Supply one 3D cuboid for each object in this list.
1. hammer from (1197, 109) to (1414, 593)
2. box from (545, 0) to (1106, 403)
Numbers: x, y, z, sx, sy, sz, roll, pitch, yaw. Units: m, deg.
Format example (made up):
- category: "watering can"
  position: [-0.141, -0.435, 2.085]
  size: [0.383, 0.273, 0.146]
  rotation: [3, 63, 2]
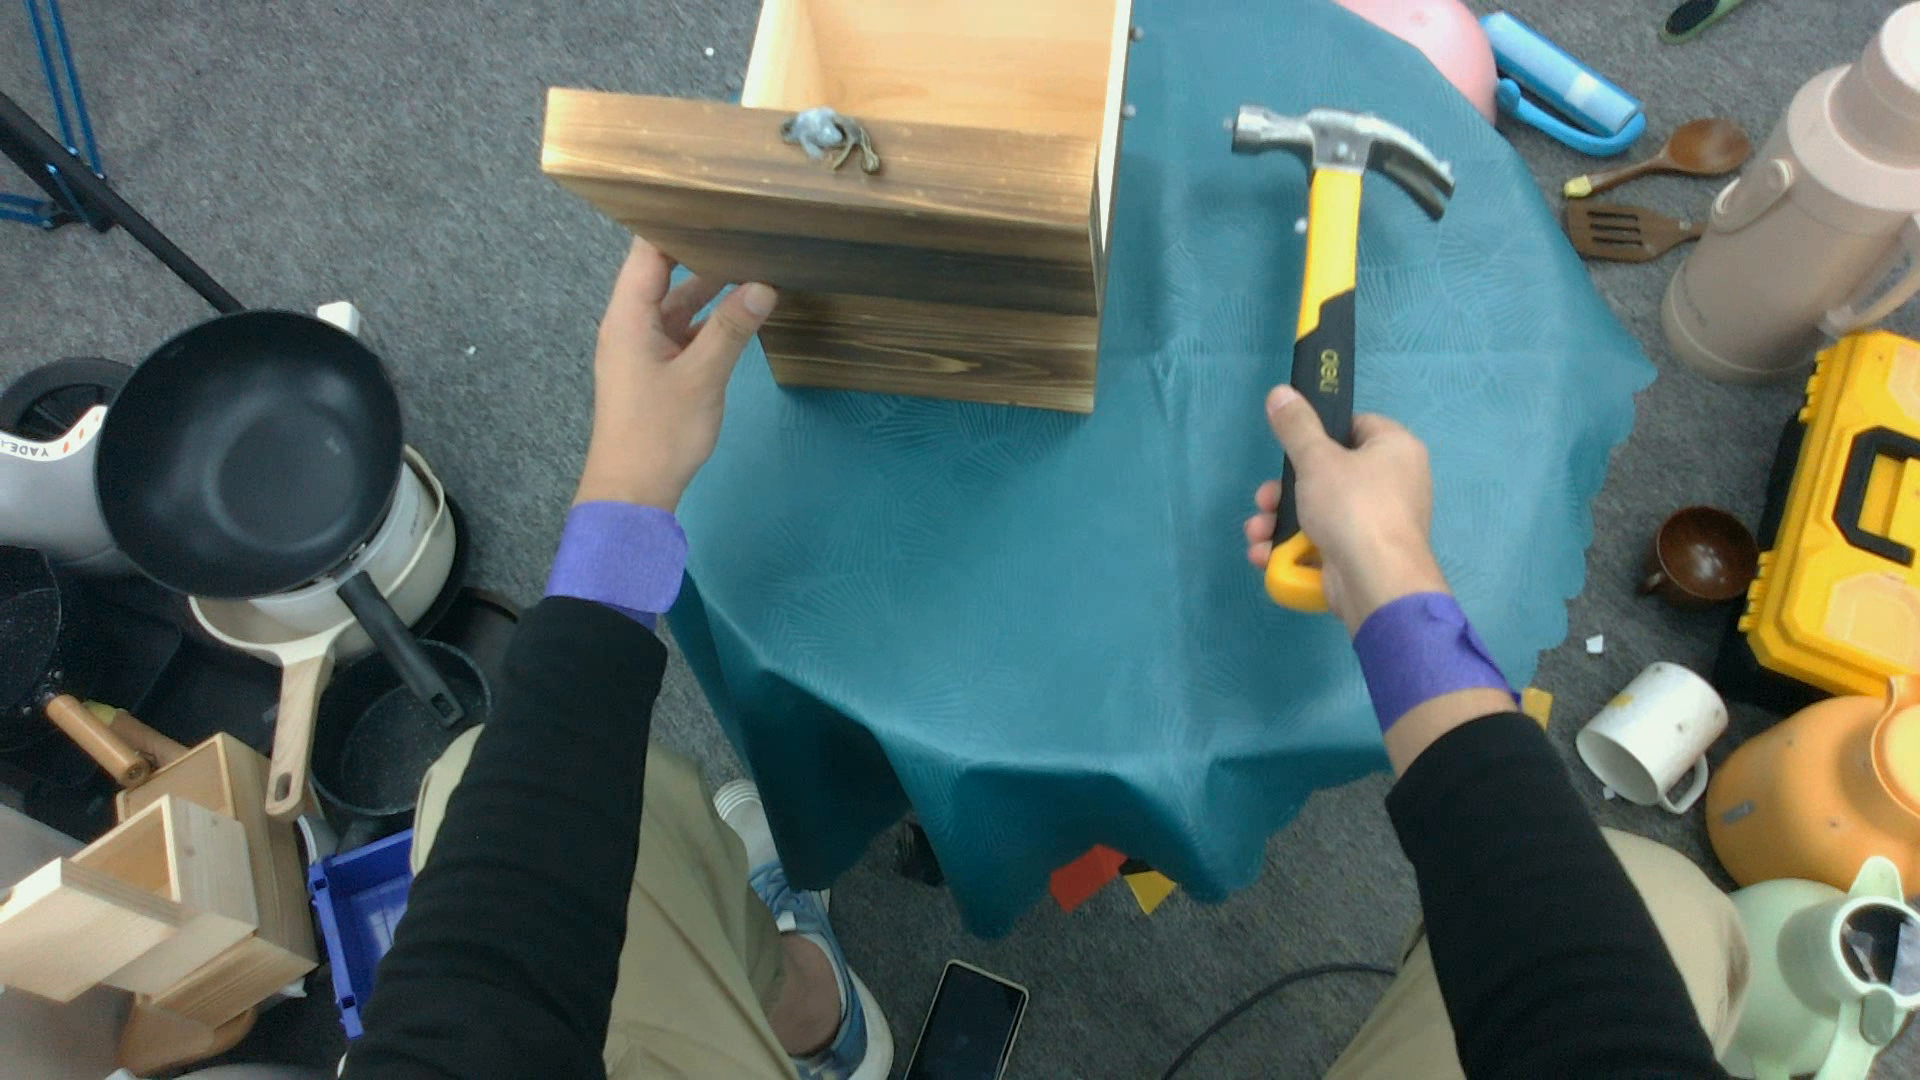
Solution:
- category: "hammer"
  position: [0.191, -0.120, 0.790]
  size: [0.131, 0.032, 0.340]
  rotation: [10, 59, 4]
- category: "box"
  position: [-0.033, -0.208, 0.709]
  size: [0.208, 0.374, 0.323]
  rotation: [6, 68, 5]
